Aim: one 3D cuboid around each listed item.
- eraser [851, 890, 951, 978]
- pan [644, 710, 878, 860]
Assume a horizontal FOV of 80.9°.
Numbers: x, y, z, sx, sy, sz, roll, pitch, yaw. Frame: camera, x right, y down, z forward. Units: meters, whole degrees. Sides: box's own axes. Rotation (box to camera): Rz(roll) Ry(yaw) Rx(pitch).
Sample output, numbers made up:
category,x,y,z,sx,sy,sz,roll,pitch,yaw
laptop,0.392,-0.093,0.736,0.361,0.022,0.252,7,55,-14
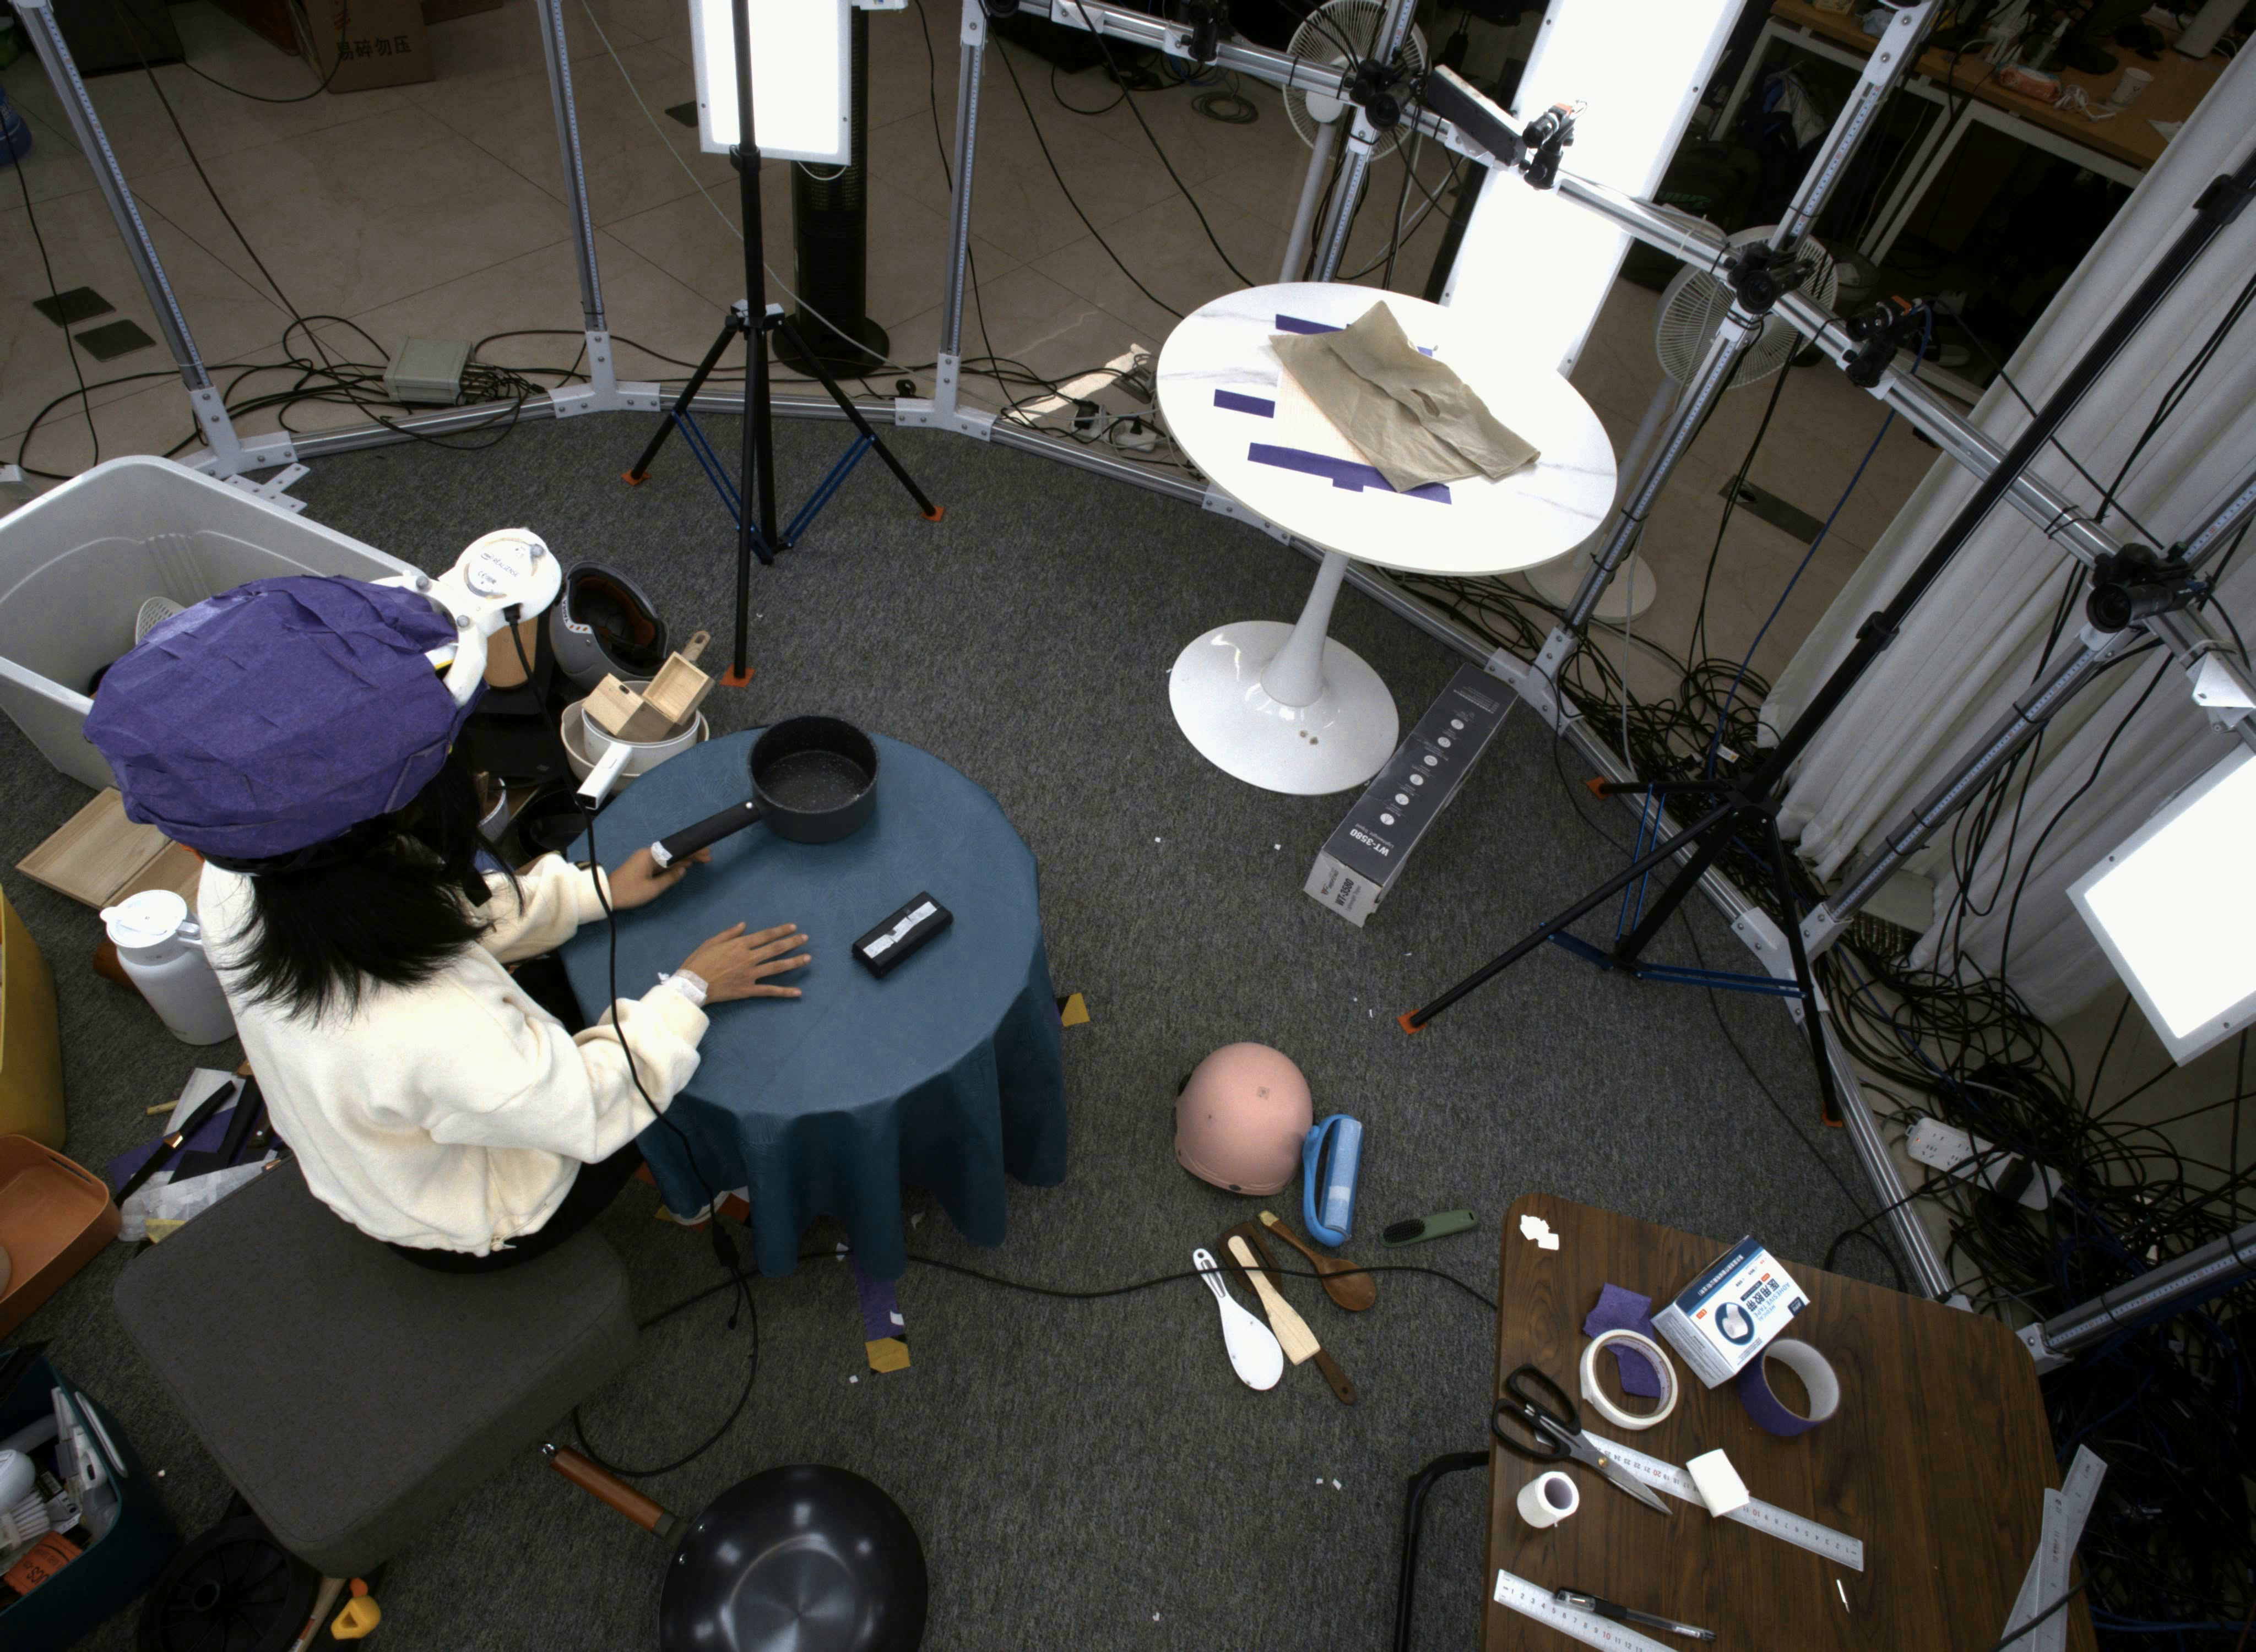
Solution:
category,x,y,z,sx,sy,sz,roll,pitch,yaw
eraser,-0.285,0.133,1.639,0.052,0.031,0.125,39,55,17
pan,-0.472,-0.028,1.673,0.168,0.088,0.329,42,54,19
